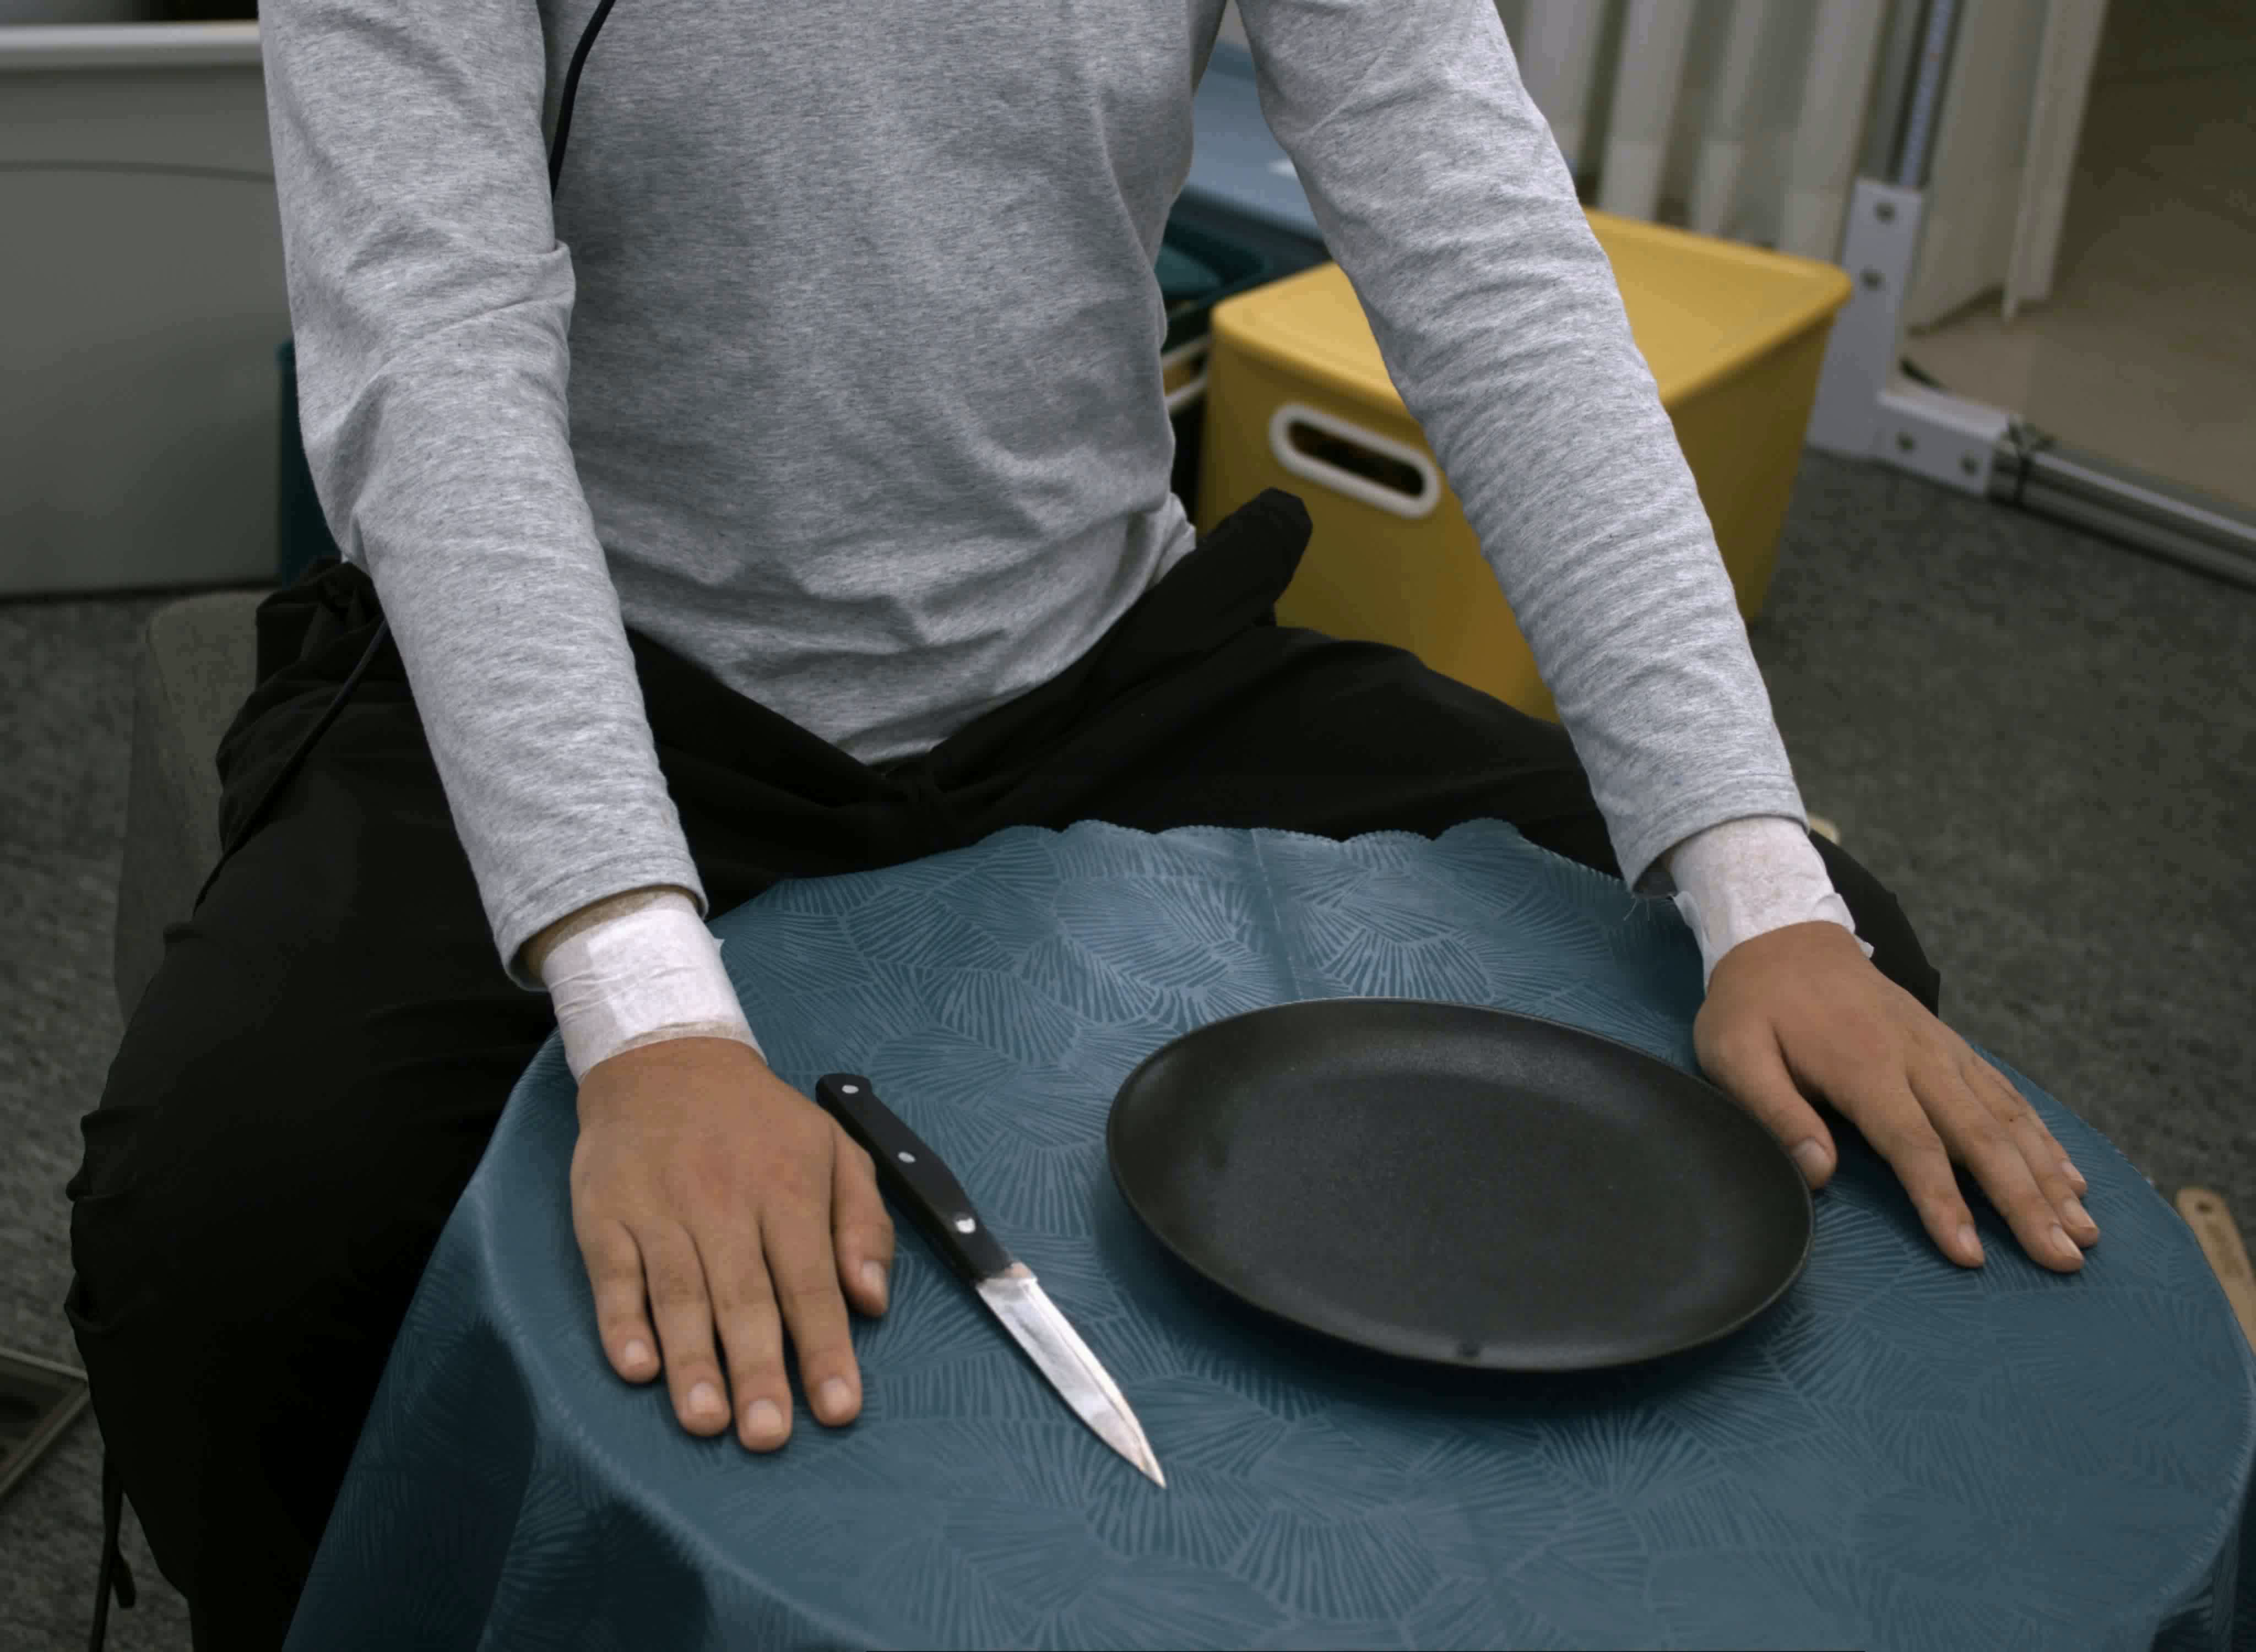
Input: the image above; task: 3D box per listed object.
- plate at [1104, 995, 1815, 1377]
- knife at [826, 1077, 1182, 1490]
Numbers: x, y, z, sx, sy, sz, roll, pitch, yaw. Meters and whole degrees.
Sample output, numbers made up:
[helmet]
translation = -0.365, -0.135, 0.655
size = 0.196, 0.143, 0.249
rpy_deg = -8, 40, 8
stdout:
[plate]
translation = 0.111, 0.125, 1.802
size = 0.243, 0.023, 0.246
rpy_deg = 5, 27, -3
[knife]
translation = -0.043, 0.148, 1.735
size = 0.024, 0.016, 0.240
rpy_deg = -10, 33, -28
